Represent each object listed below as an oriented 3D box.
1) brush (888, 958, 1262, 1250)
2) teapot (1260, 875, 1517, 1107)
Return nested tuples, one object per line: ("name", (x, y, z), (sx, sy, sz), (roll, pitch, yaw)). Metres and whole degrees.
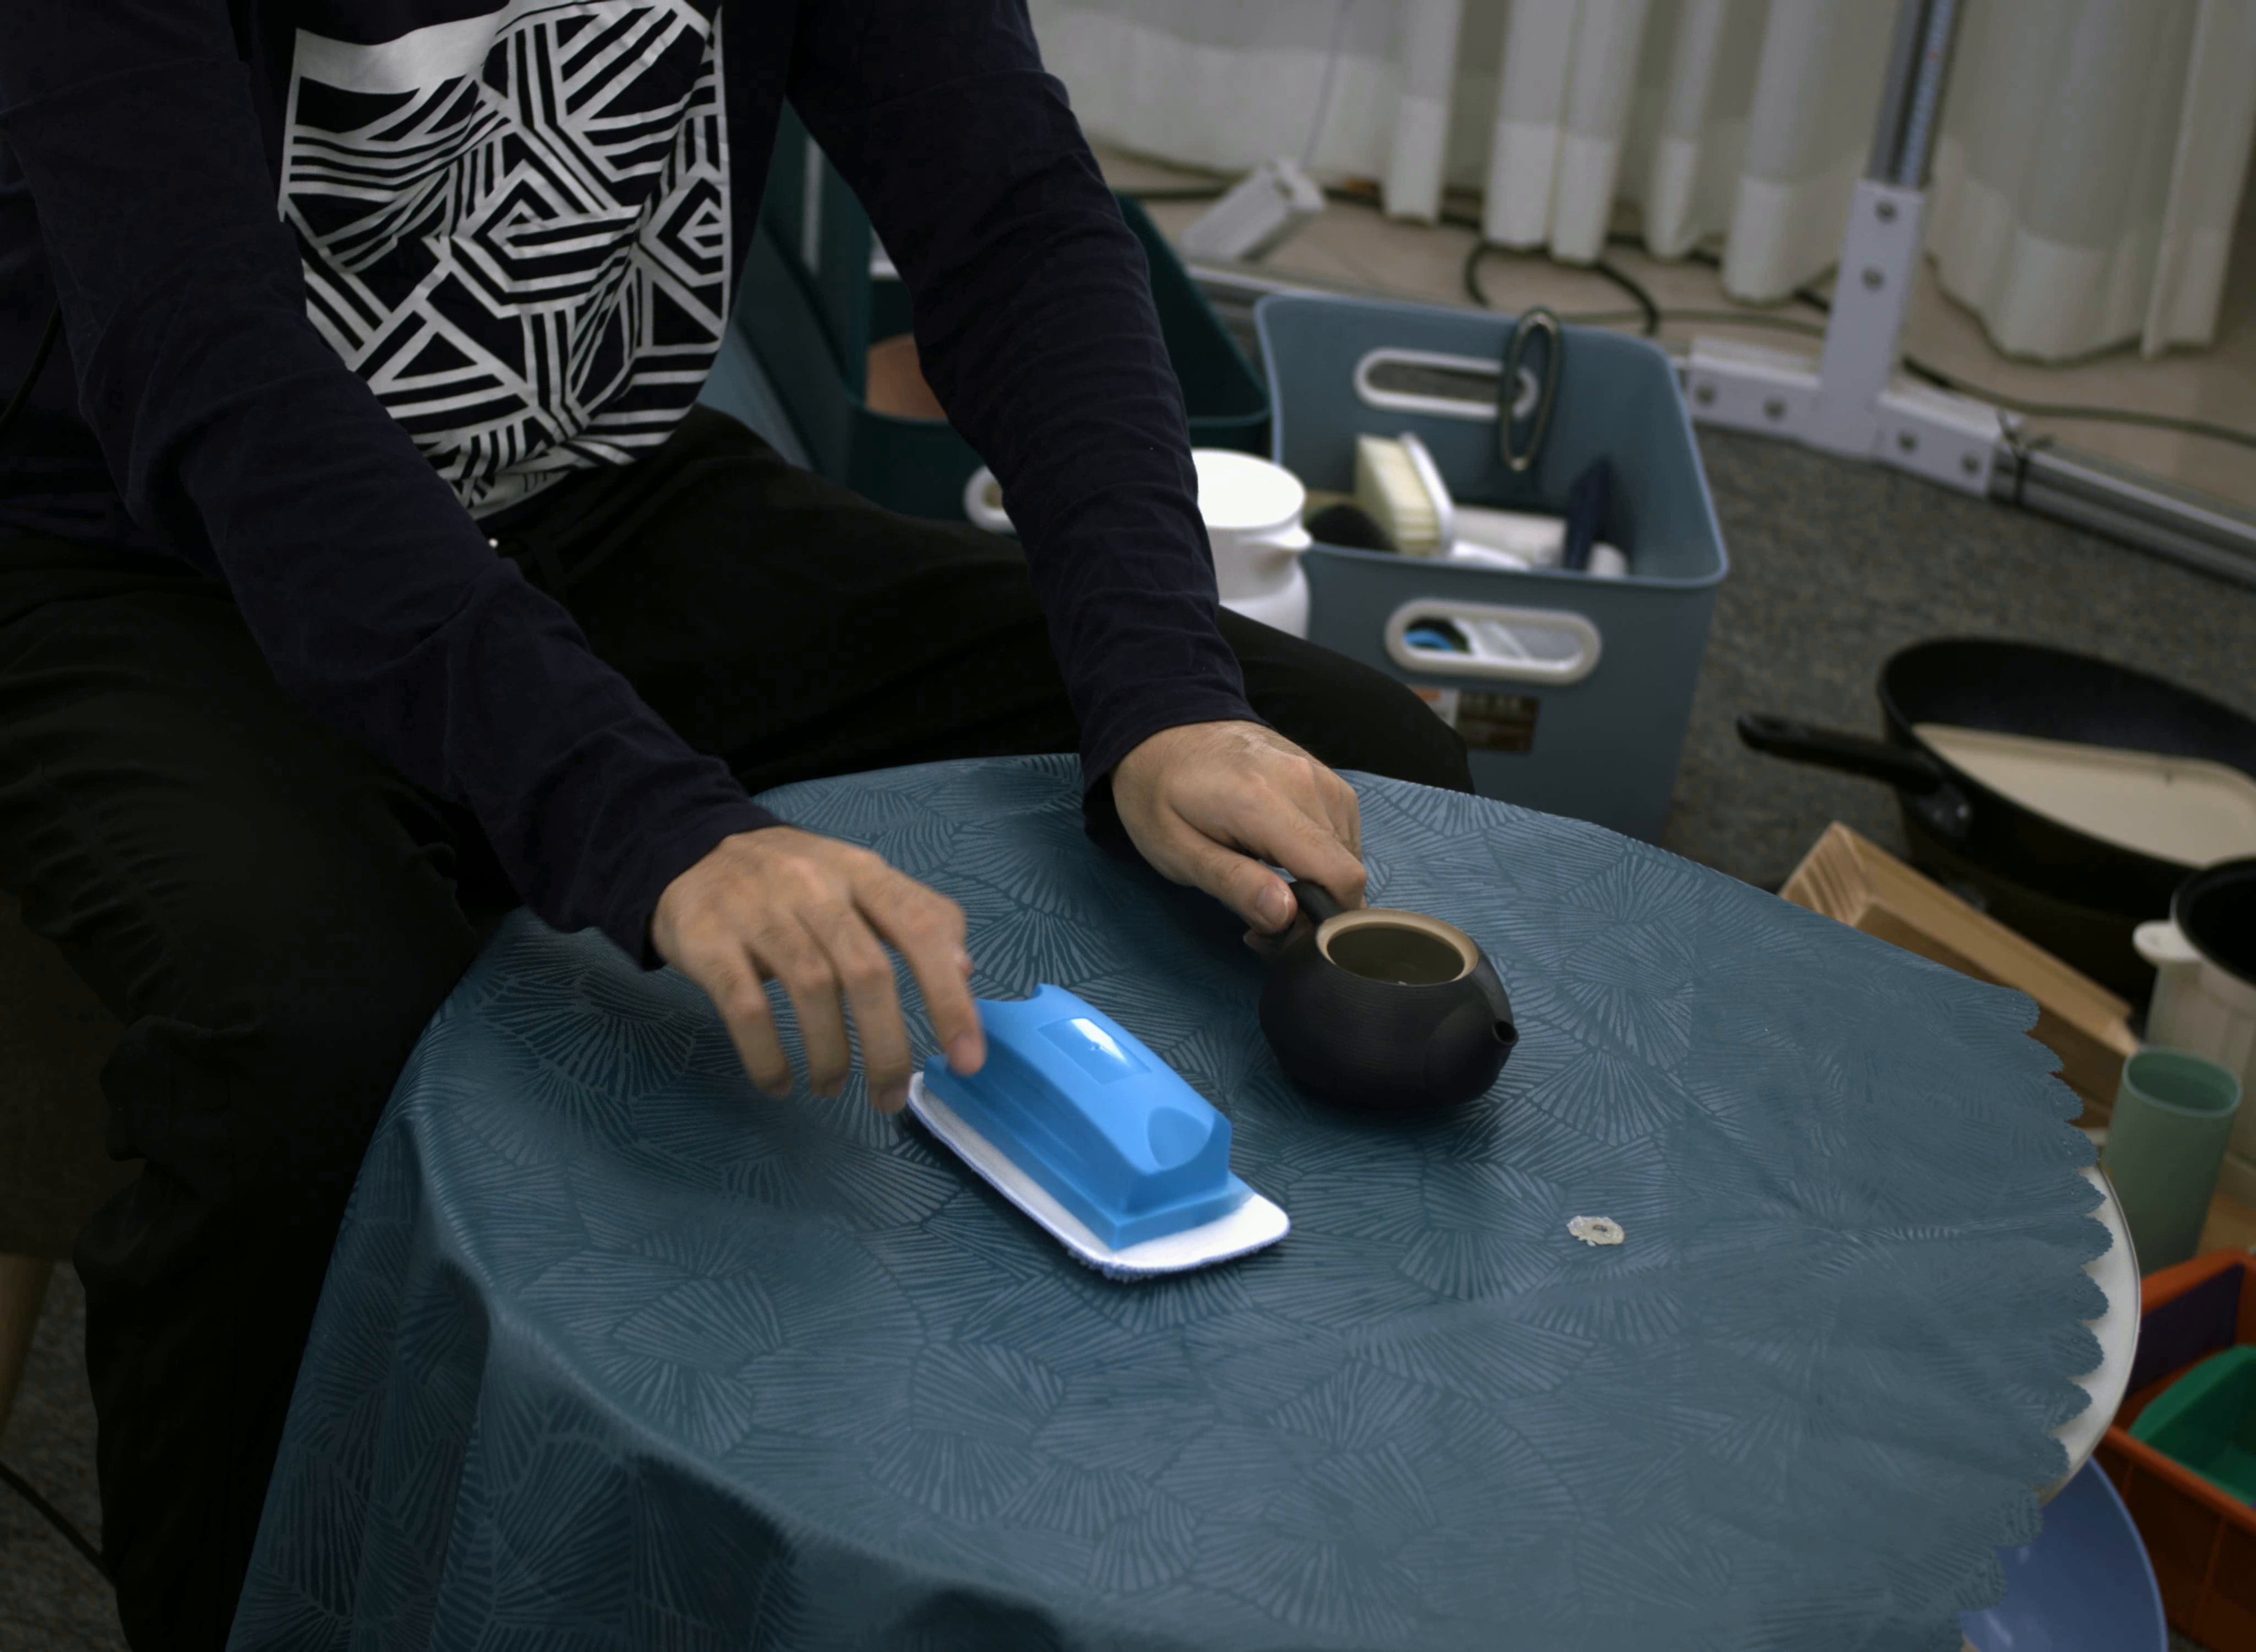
("brush", (-0.015, 0.089, 1.802), (0.083, 0.056, 0.145), (-8, 33, -32))
("teapot", (0.092, 0.064, 1.883), (0.090, 0.053, 0.134), (-11, 33, -33))
